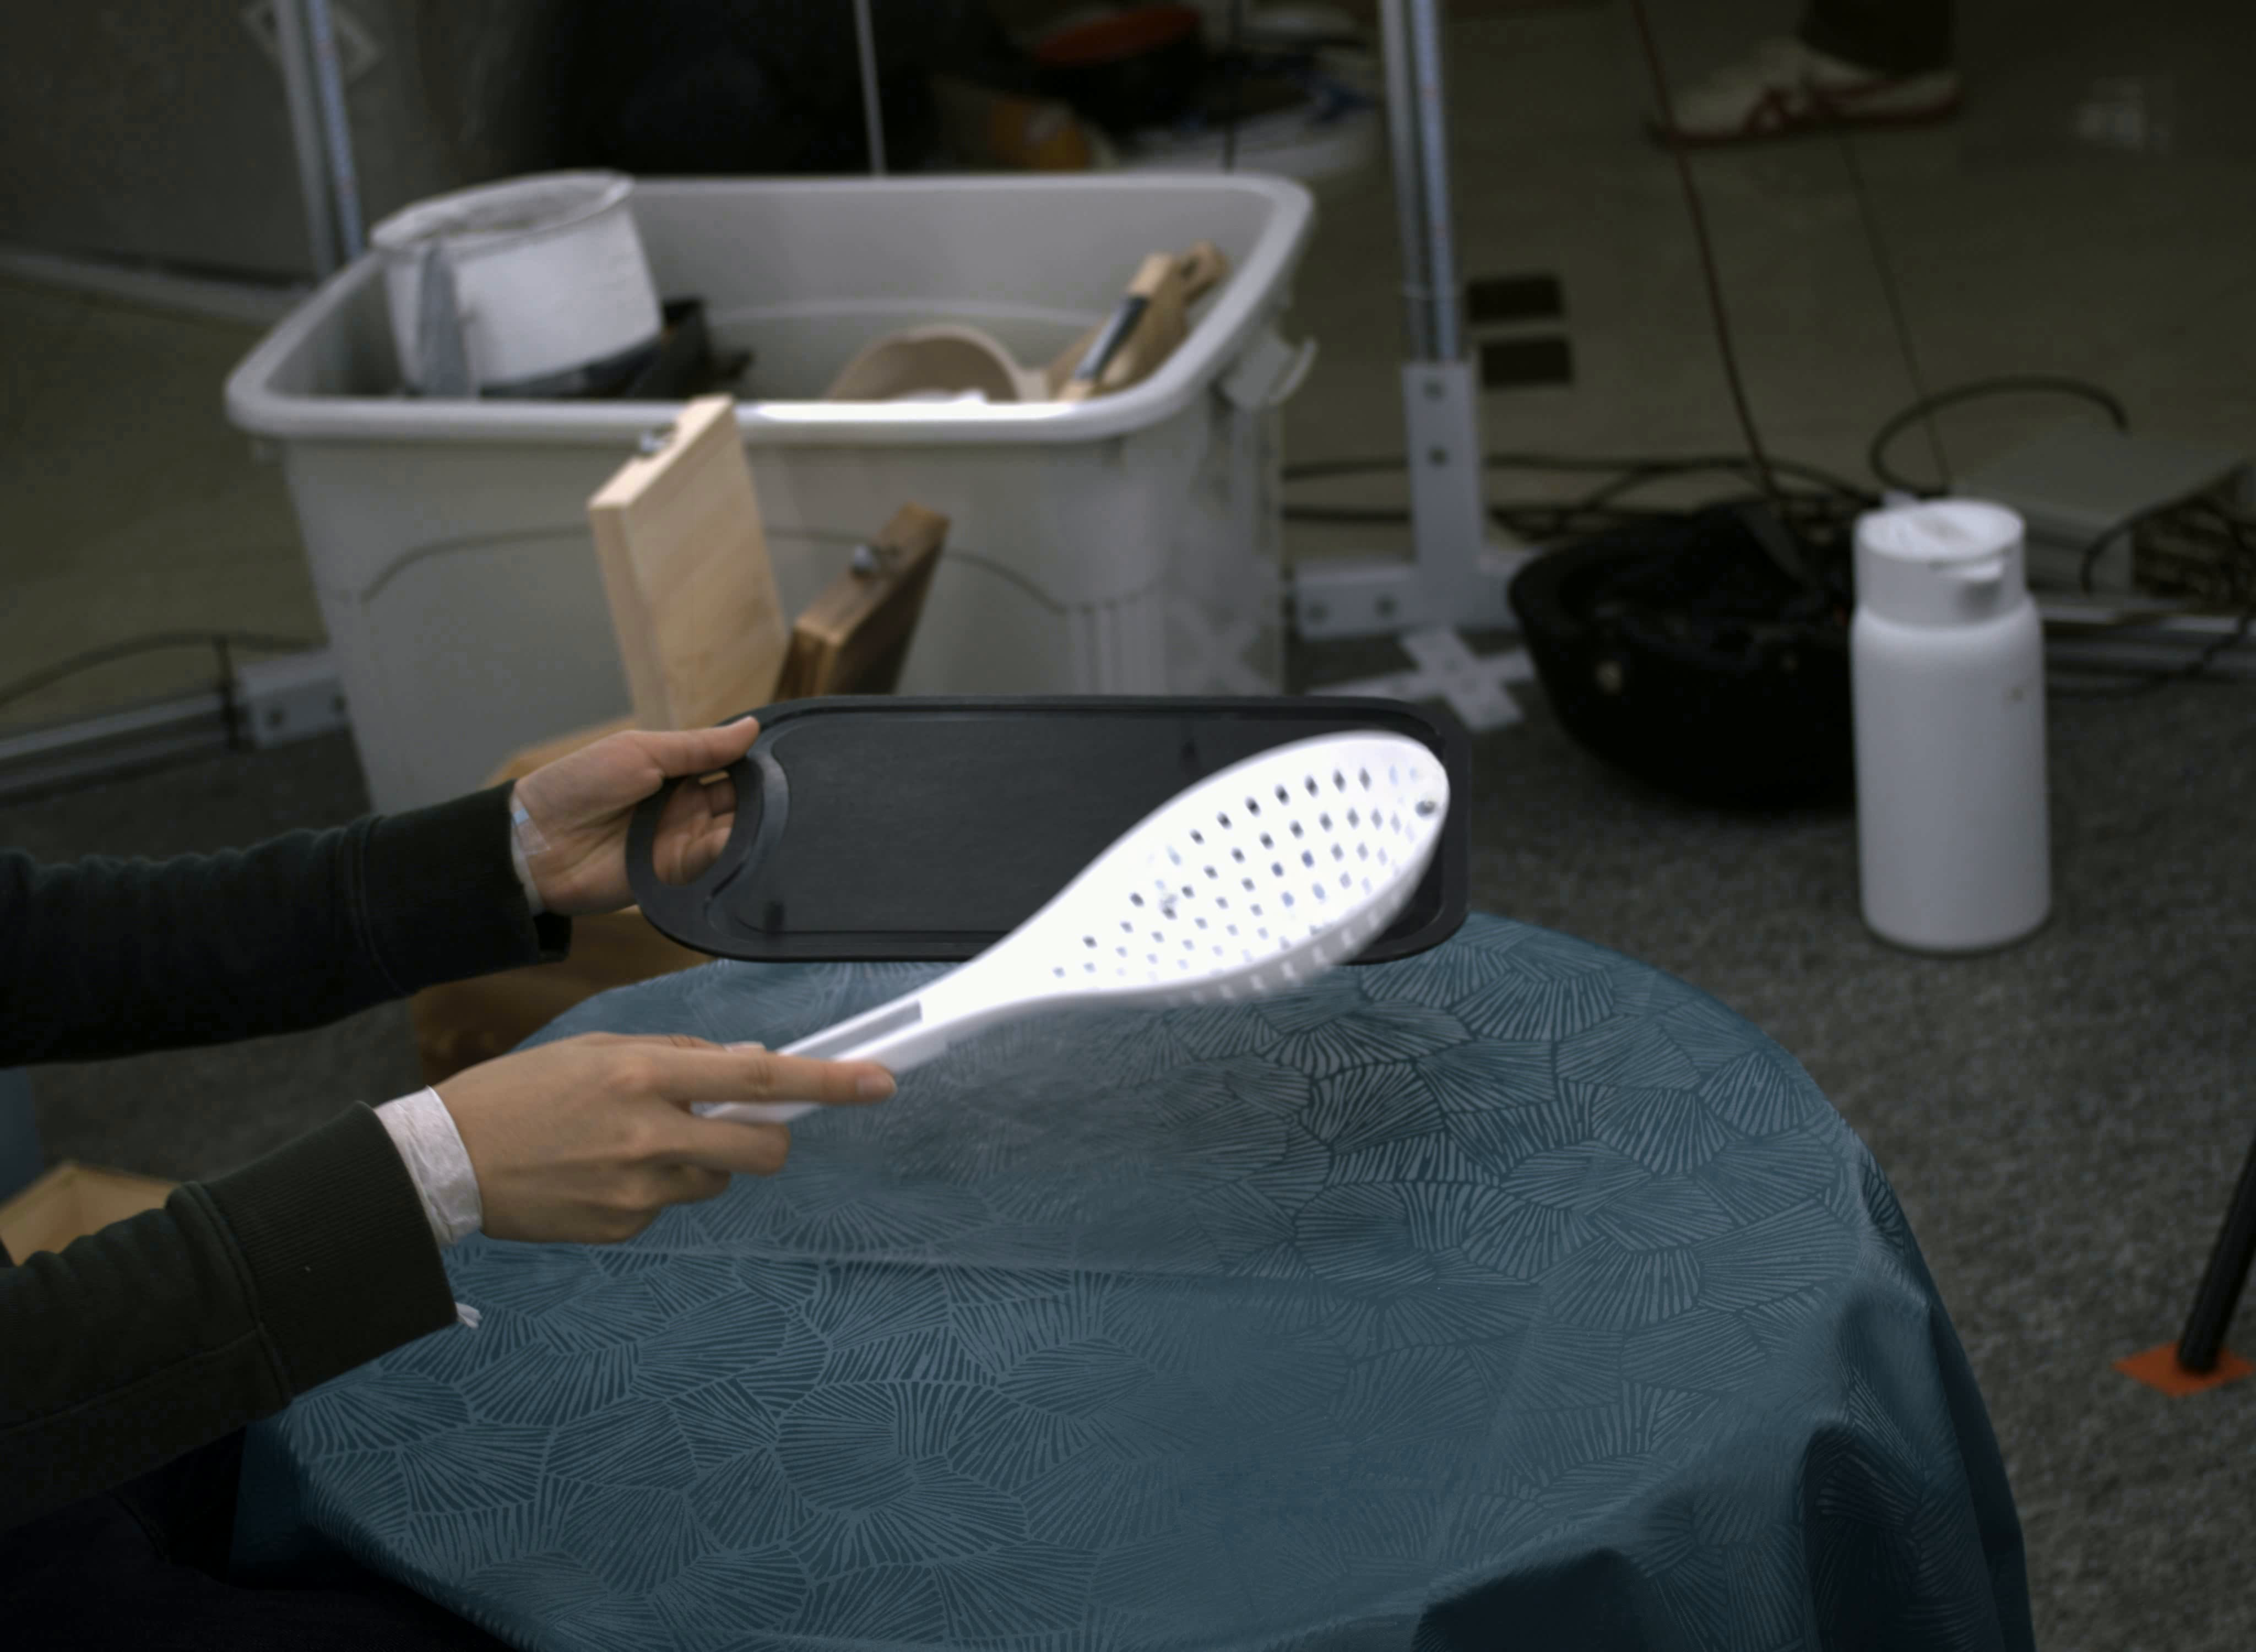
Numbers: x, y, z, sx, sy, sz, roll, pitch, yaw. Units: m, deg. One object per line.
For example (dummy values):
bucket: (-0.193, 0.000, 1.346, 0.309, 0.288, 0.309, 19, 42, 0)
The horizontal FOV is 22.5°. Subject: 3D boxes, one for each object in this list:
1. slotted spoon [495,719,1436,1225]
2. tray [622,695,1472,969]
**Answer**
slotted spoon: (-0.055, 0.055, 1.898, 0.350, 0.046, 0.134, -20, 25, 6)
tray: (-0.031, -0.002, 2.170, 0.325, 0.010, 0.208, 0, 29, 5)
